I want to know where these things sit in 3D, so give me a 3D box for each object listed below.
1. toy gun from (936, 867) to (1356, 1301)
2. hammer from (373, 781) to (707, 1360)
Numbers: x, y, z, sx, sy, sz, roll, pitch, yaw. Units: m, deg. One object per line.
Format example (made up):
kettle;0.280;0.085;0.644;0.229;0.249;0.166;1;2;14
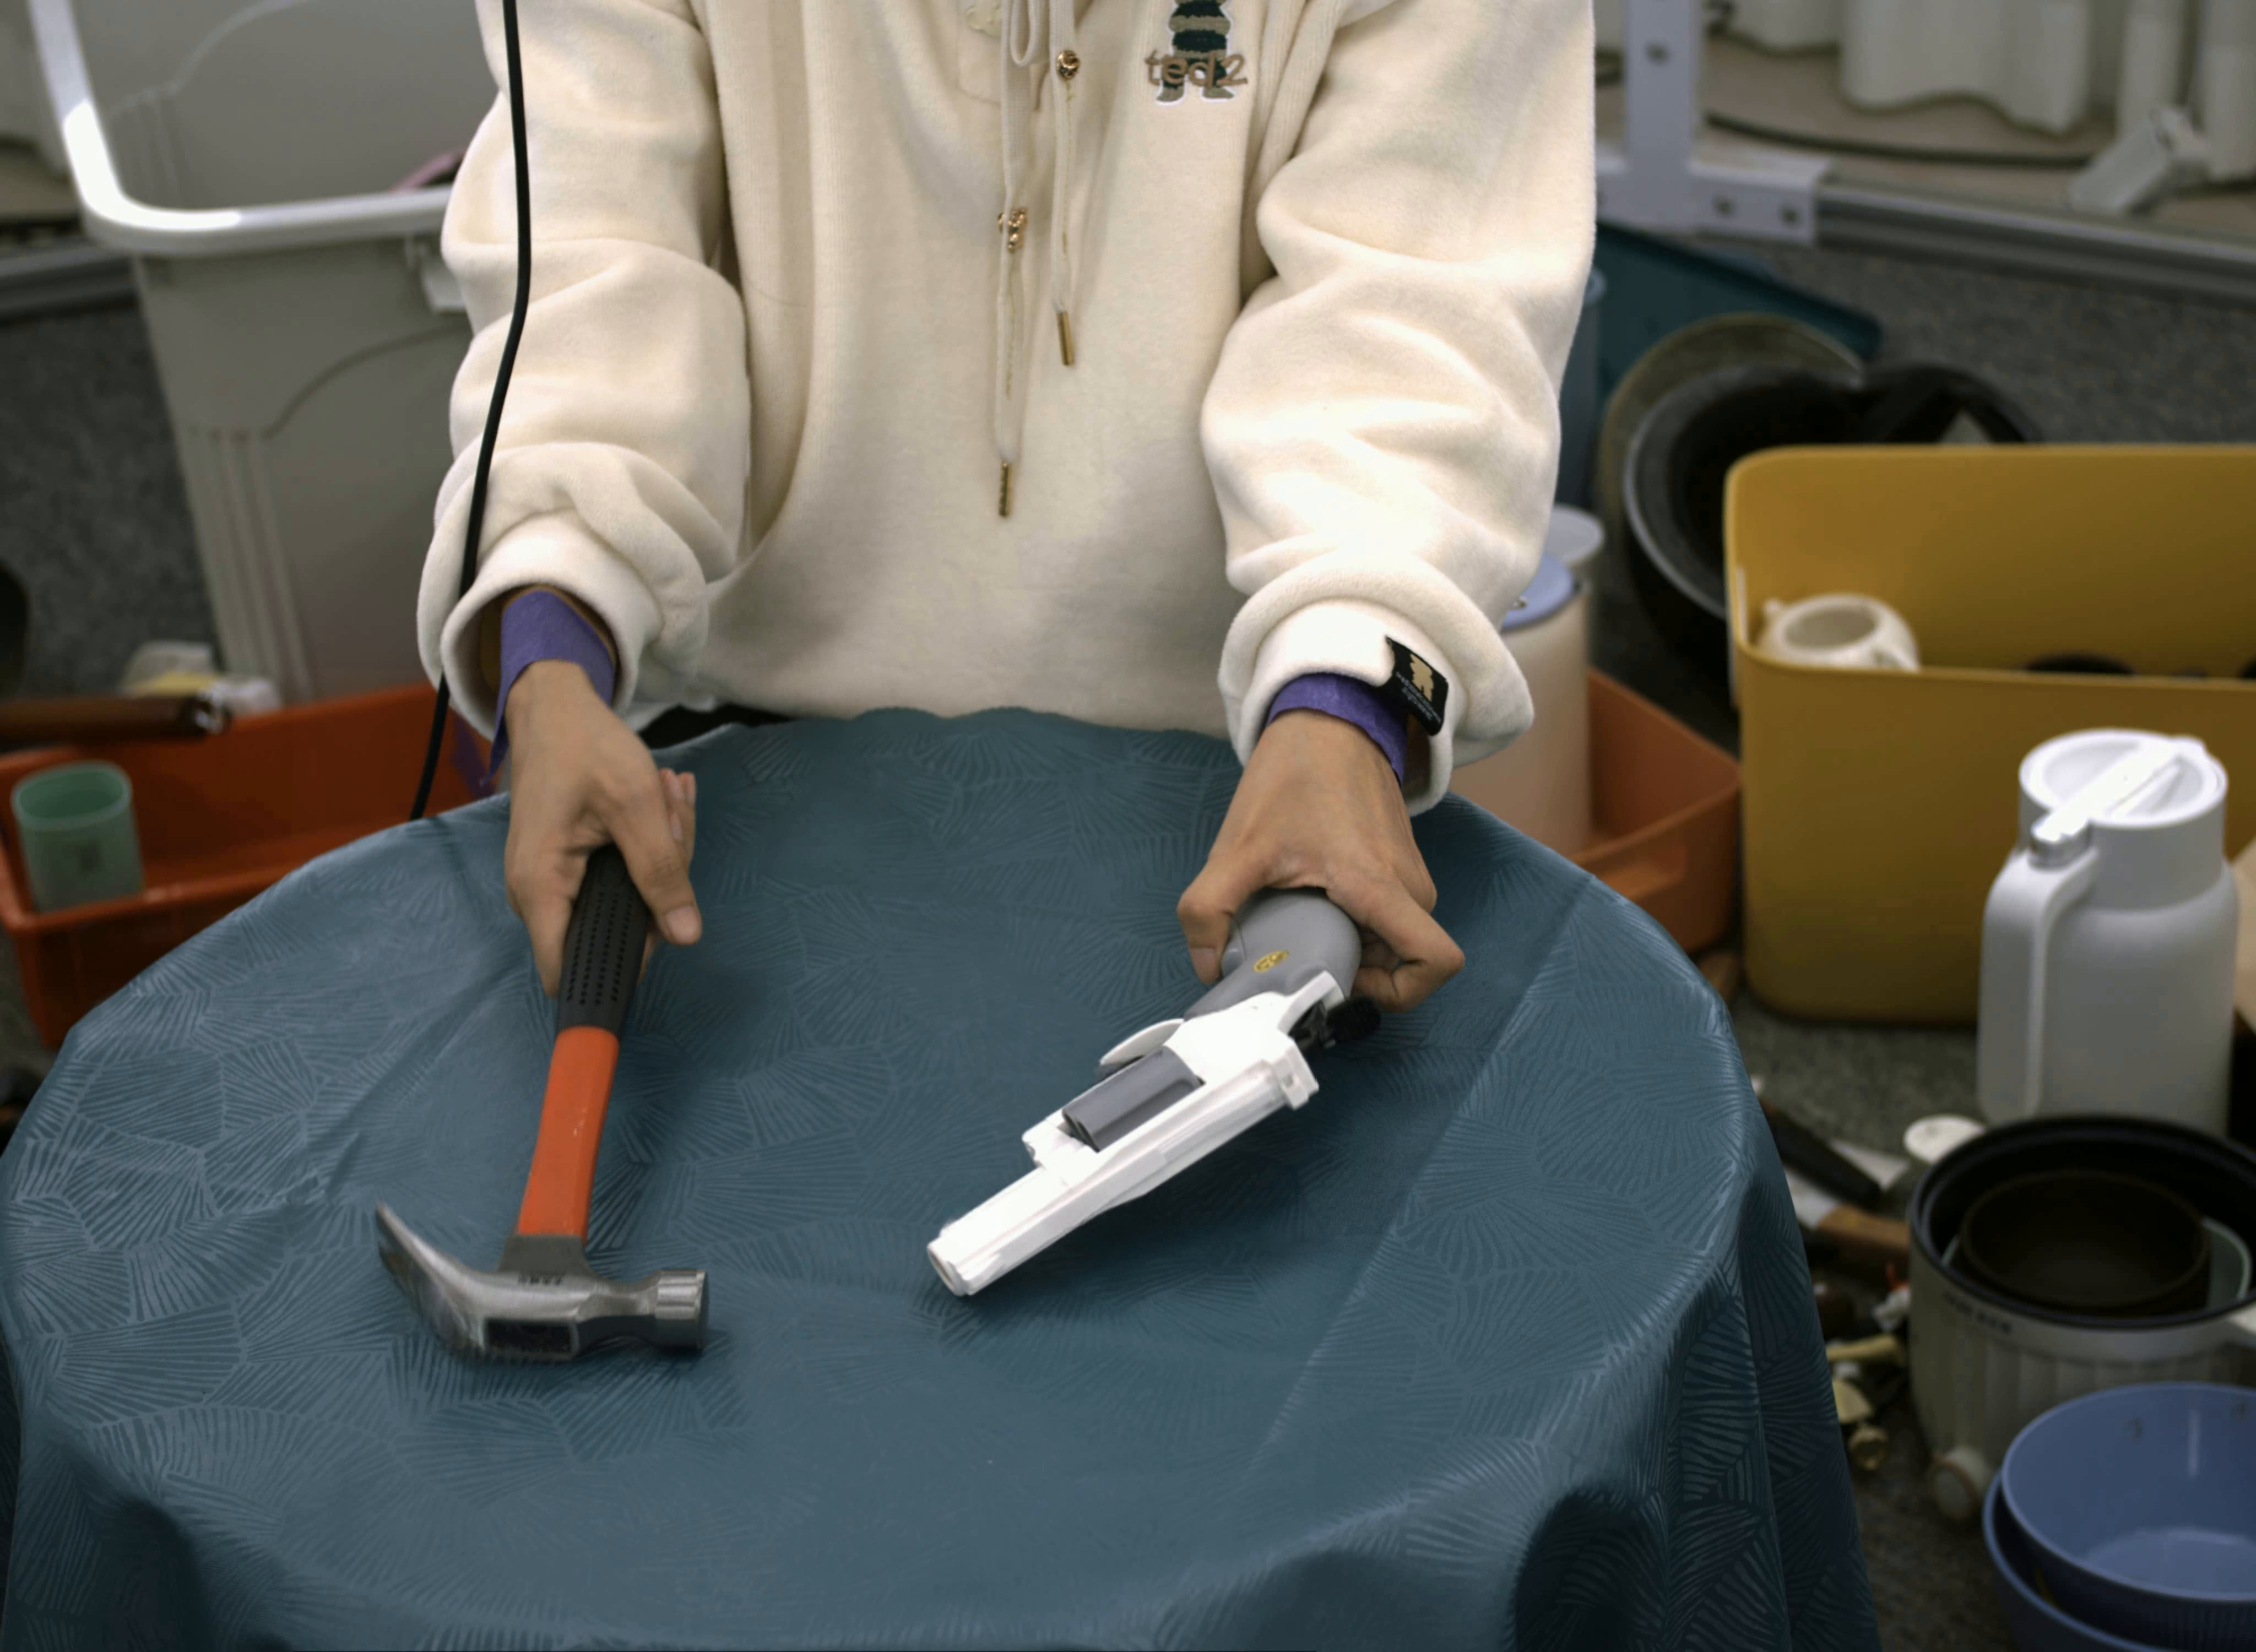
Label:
toy gun;0.008;0.084;1.873;0.210;0.038;0.141;-32;19;-17
hammer;-0.184;0.077;1.884;0.110;0.026;0.283;-6;36;8
